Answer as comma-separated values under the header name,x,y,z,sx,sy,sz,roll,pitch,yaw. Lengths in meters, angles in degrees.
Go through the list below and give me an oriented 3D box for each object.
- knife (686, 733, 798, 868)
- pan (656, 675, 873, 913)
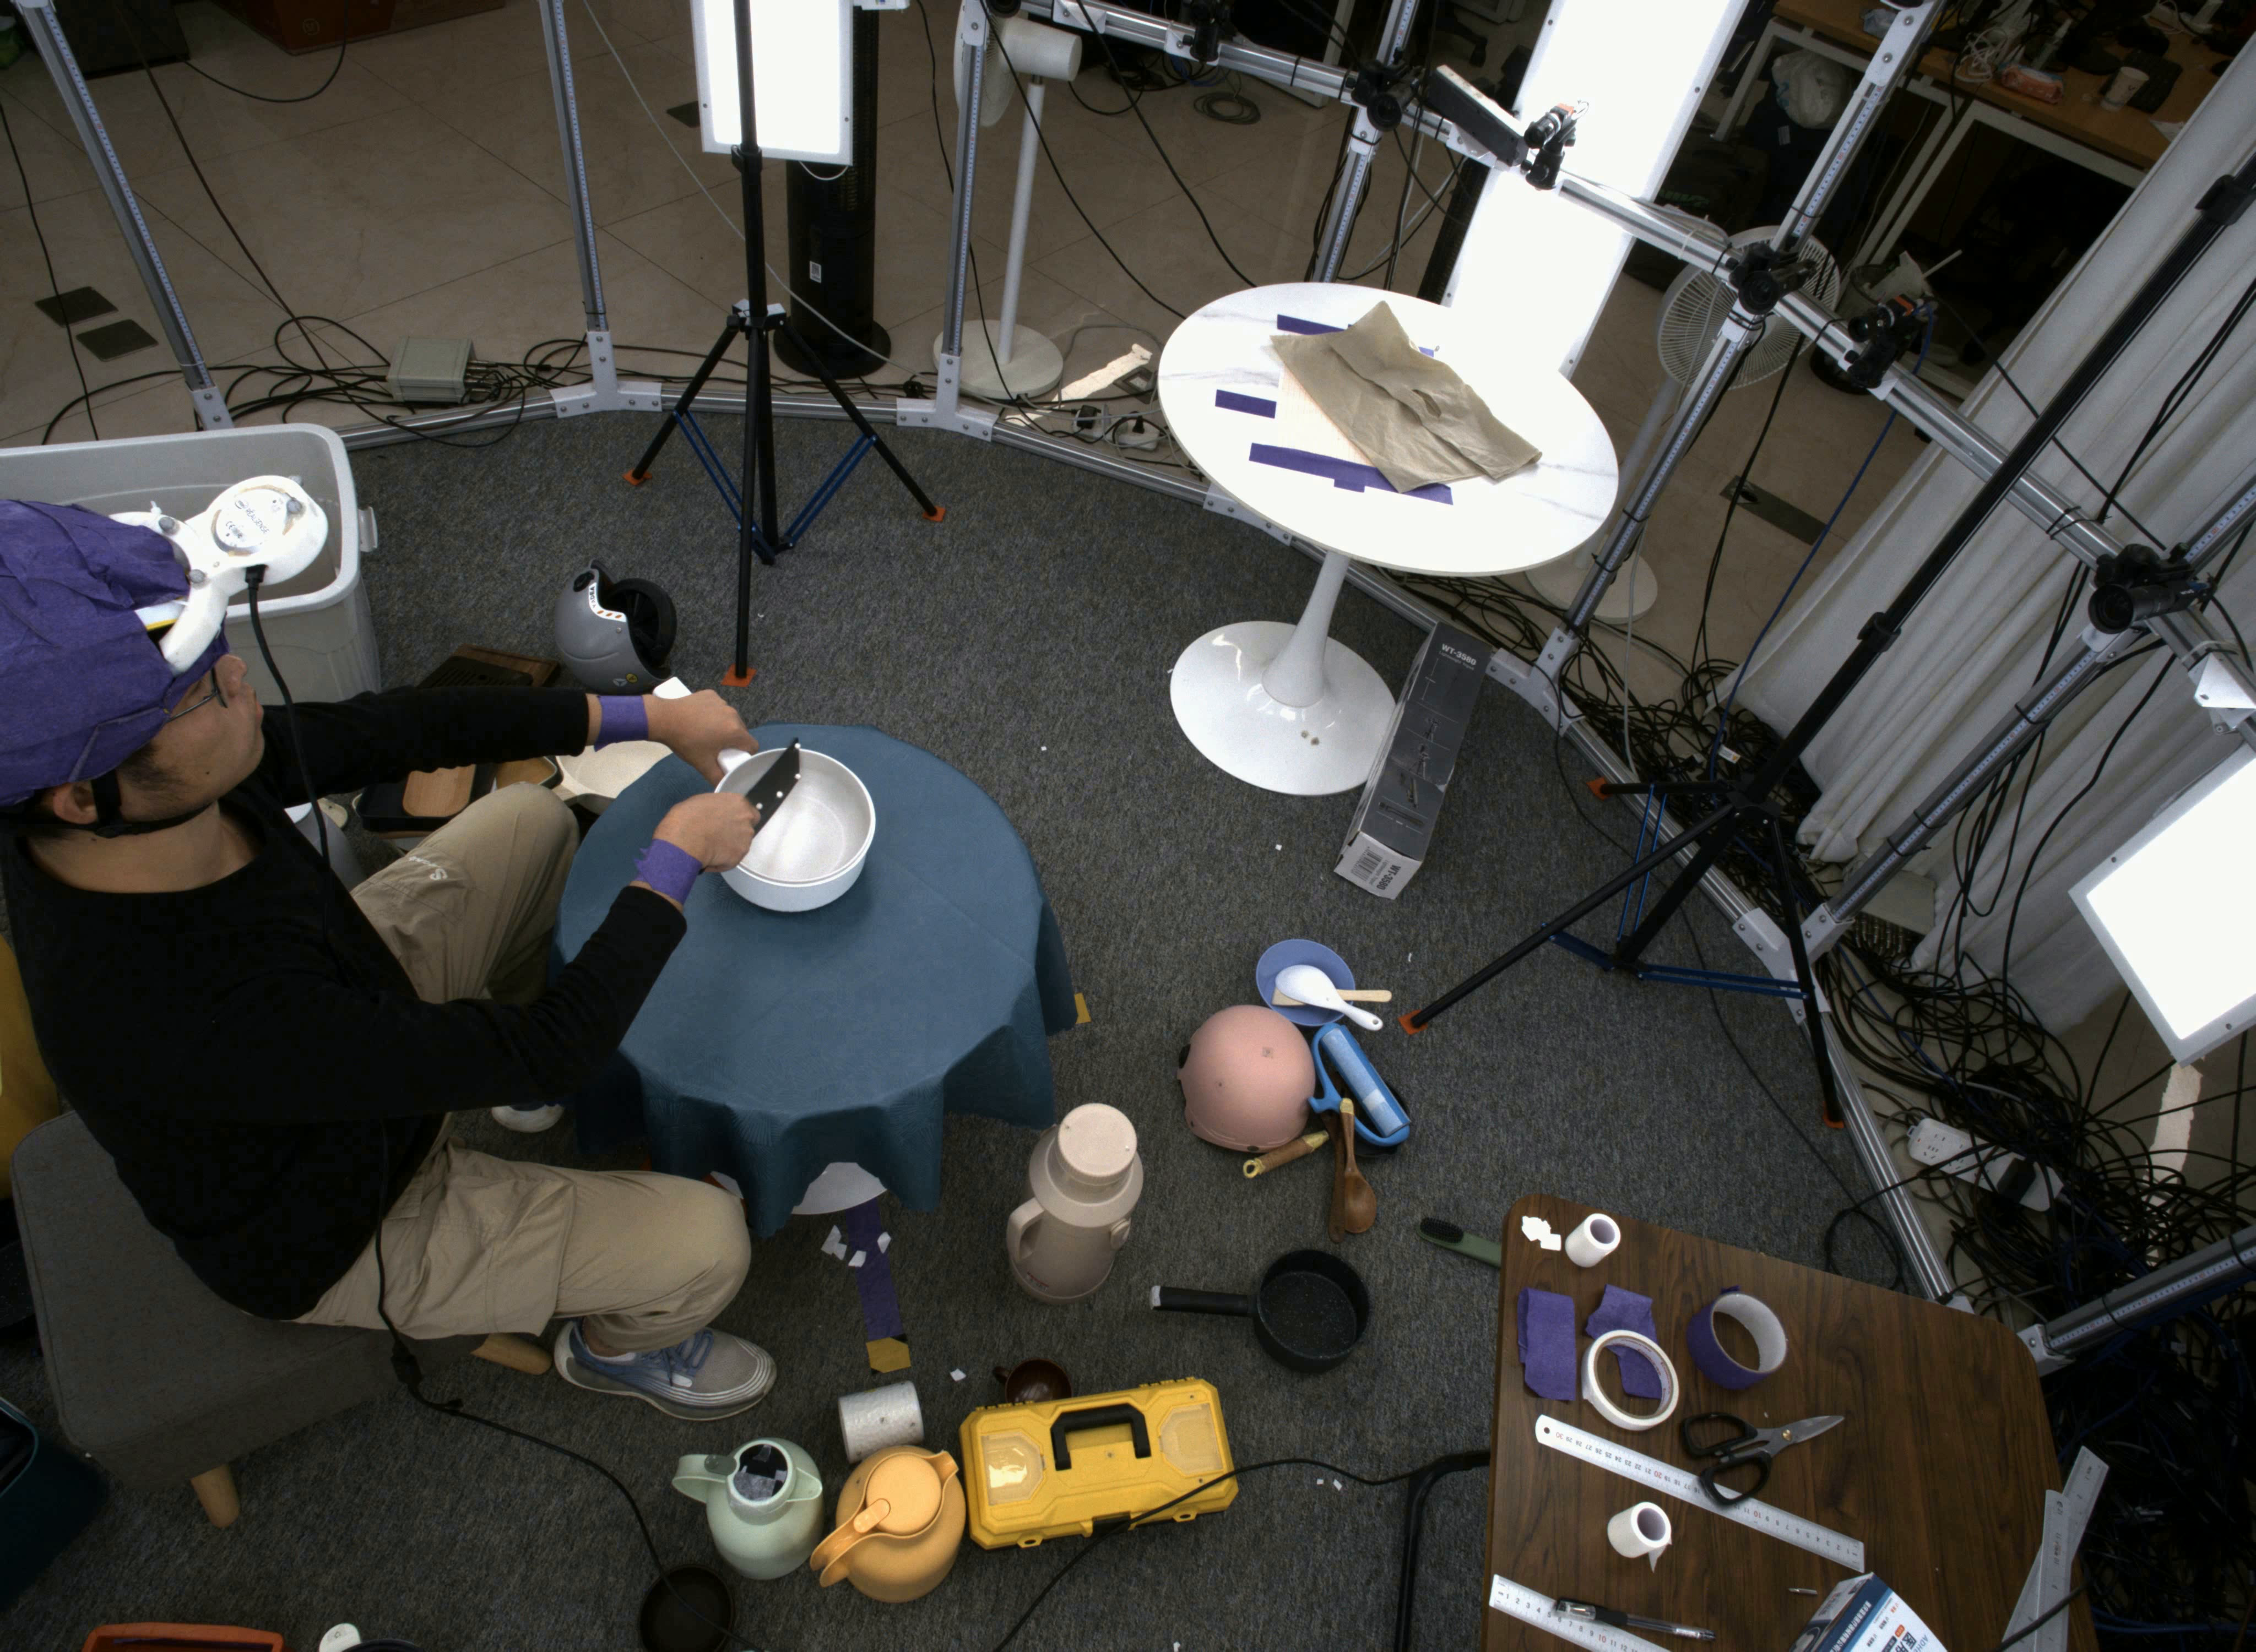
name,x,y,z,sx,sy,sz,roll,pitch,yaw
knife,-0.441,-0.026,1.506,0.020,0.083,0.298,8,24,6
pan,-0.481,-0.043,1.653,0.350,0.103,0.201,44,56,10
